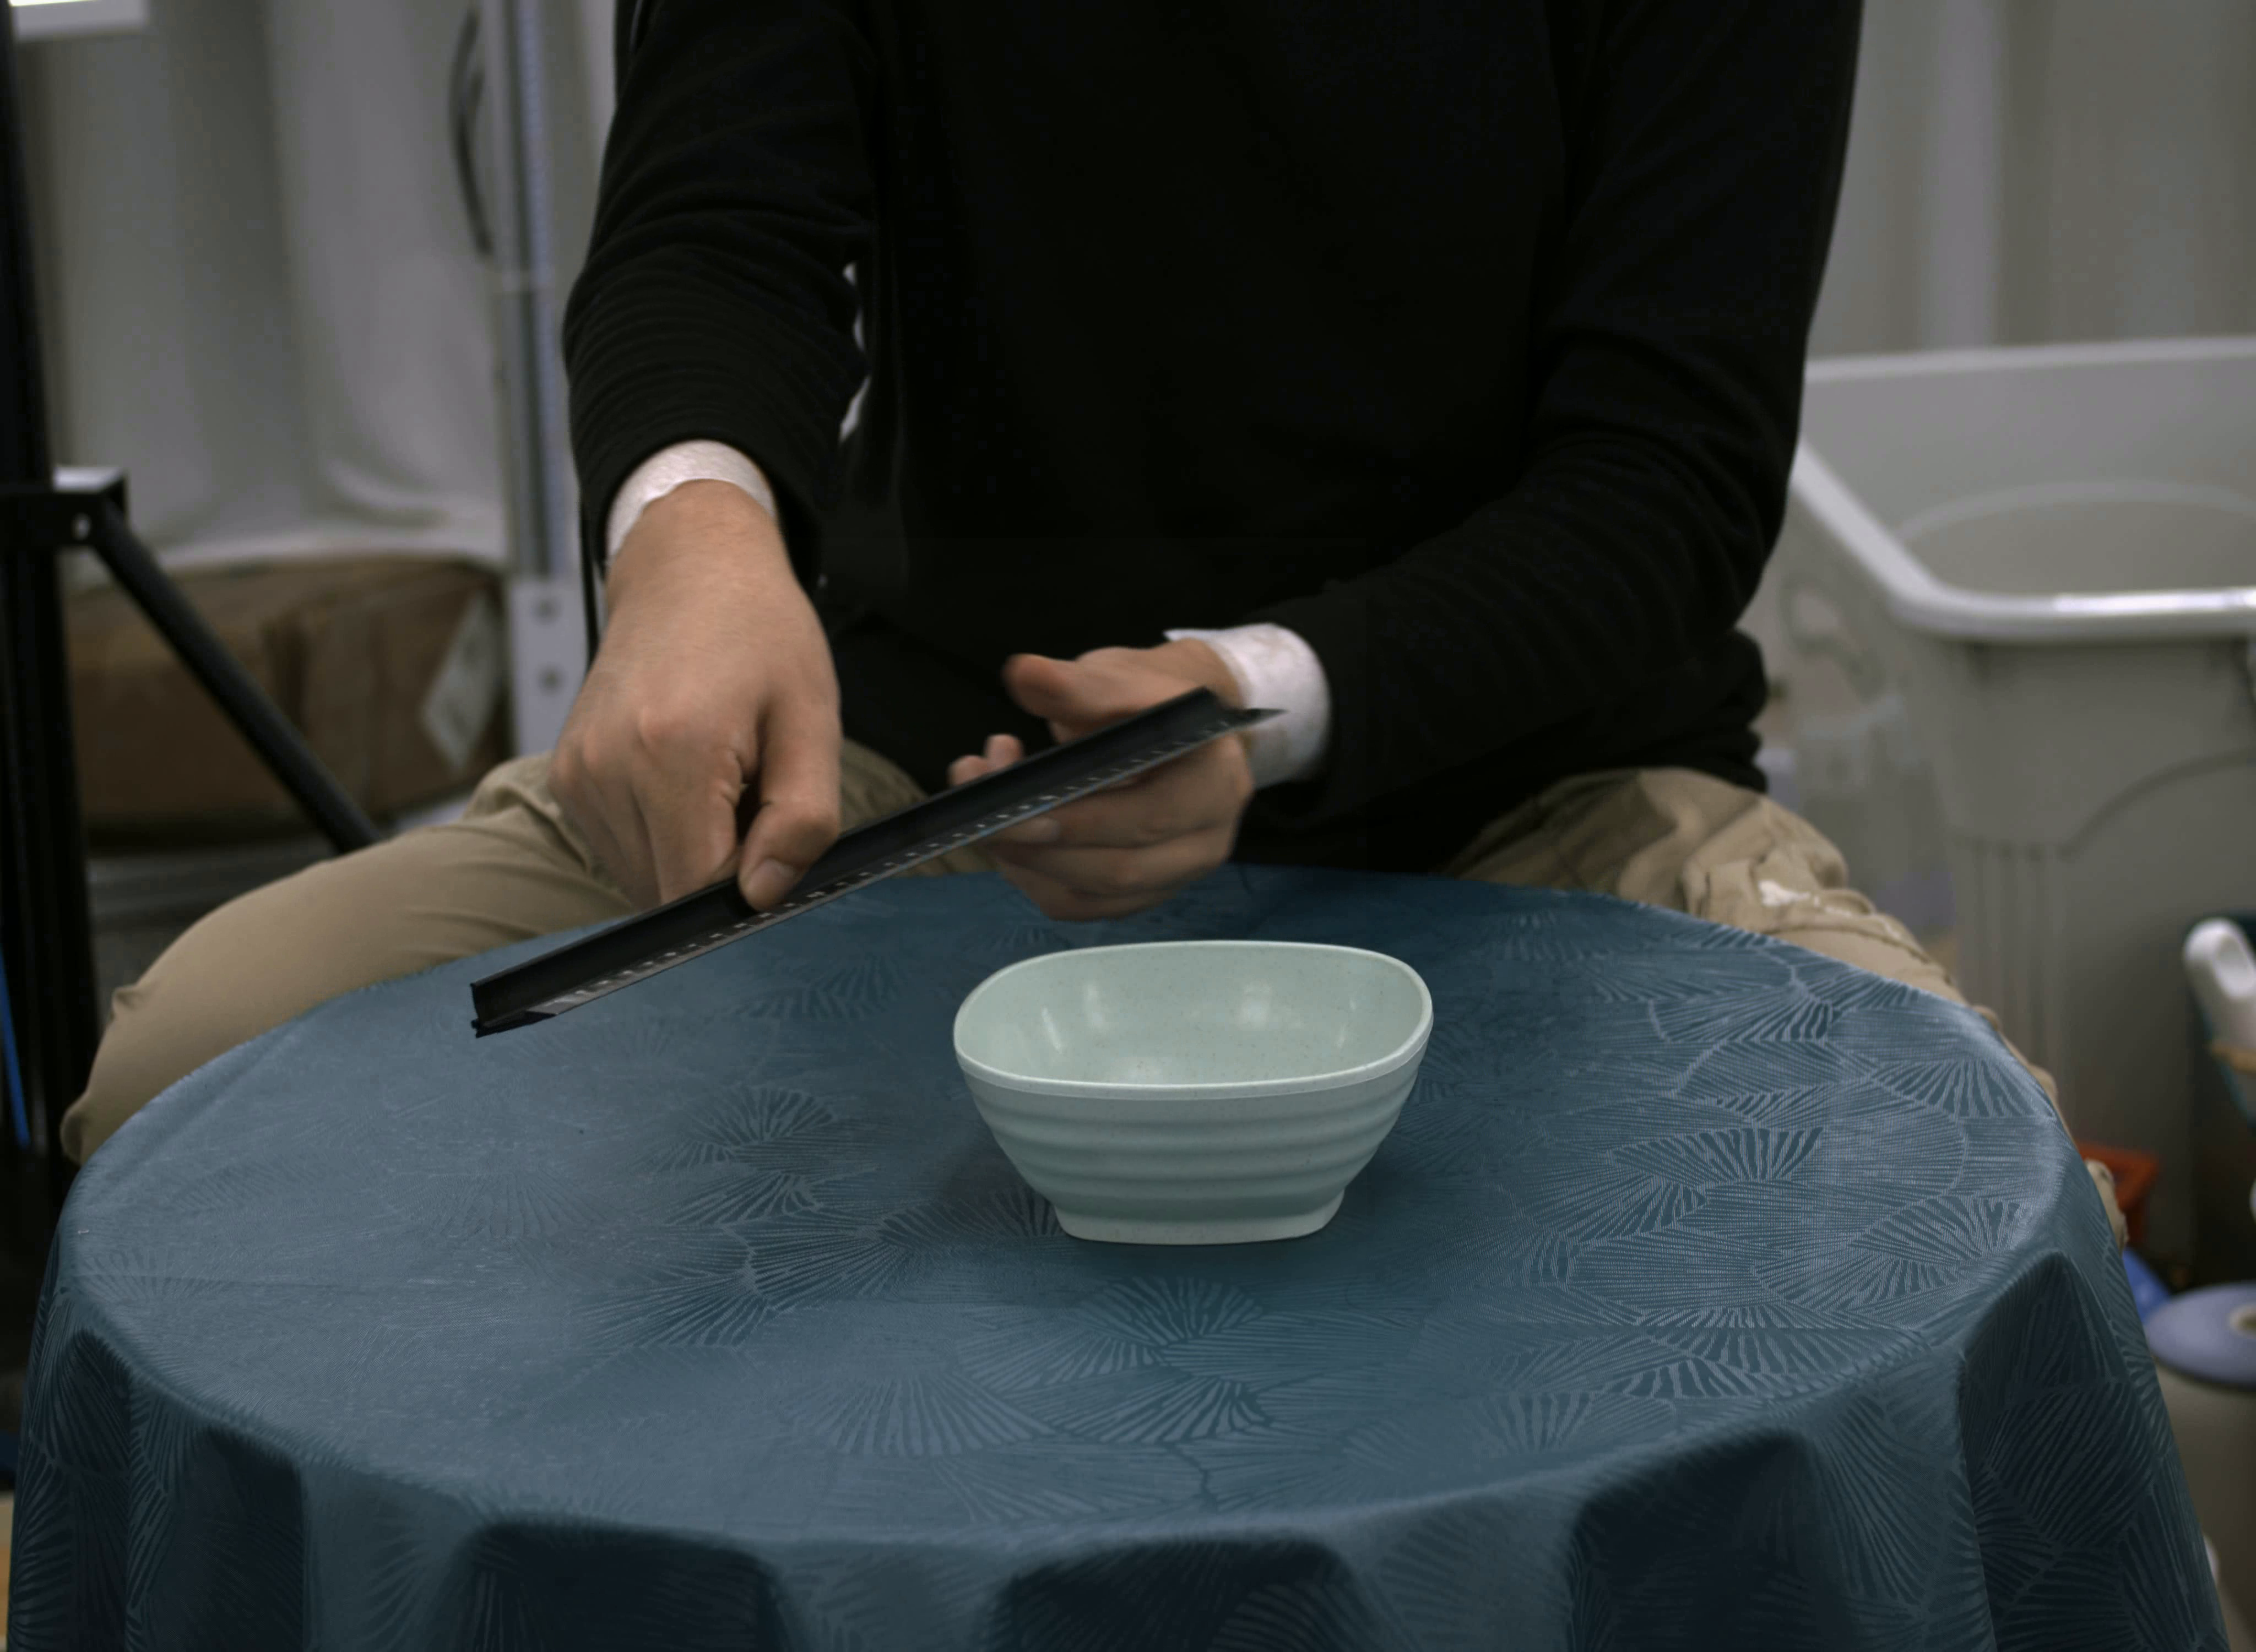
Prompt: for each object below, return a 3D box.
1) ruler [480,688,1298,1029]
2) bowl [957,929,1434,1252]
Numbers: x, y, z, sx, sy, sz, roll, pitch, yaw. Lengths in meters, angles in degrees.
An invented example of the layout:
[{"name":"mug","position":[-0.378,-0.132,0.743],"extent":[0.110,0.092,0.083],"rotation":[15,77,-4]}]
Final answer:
[{"name":"ruler","position":[-0.064,0.004,1.568],"extent":[0.306,0.017,0.040],"rotation":[-22,8,-42]},{"name":"bowl","position":[0.021,0.081,1.545],"extent":[0.151,0.058,0.152],"rotation":[-4,18,0]}]
